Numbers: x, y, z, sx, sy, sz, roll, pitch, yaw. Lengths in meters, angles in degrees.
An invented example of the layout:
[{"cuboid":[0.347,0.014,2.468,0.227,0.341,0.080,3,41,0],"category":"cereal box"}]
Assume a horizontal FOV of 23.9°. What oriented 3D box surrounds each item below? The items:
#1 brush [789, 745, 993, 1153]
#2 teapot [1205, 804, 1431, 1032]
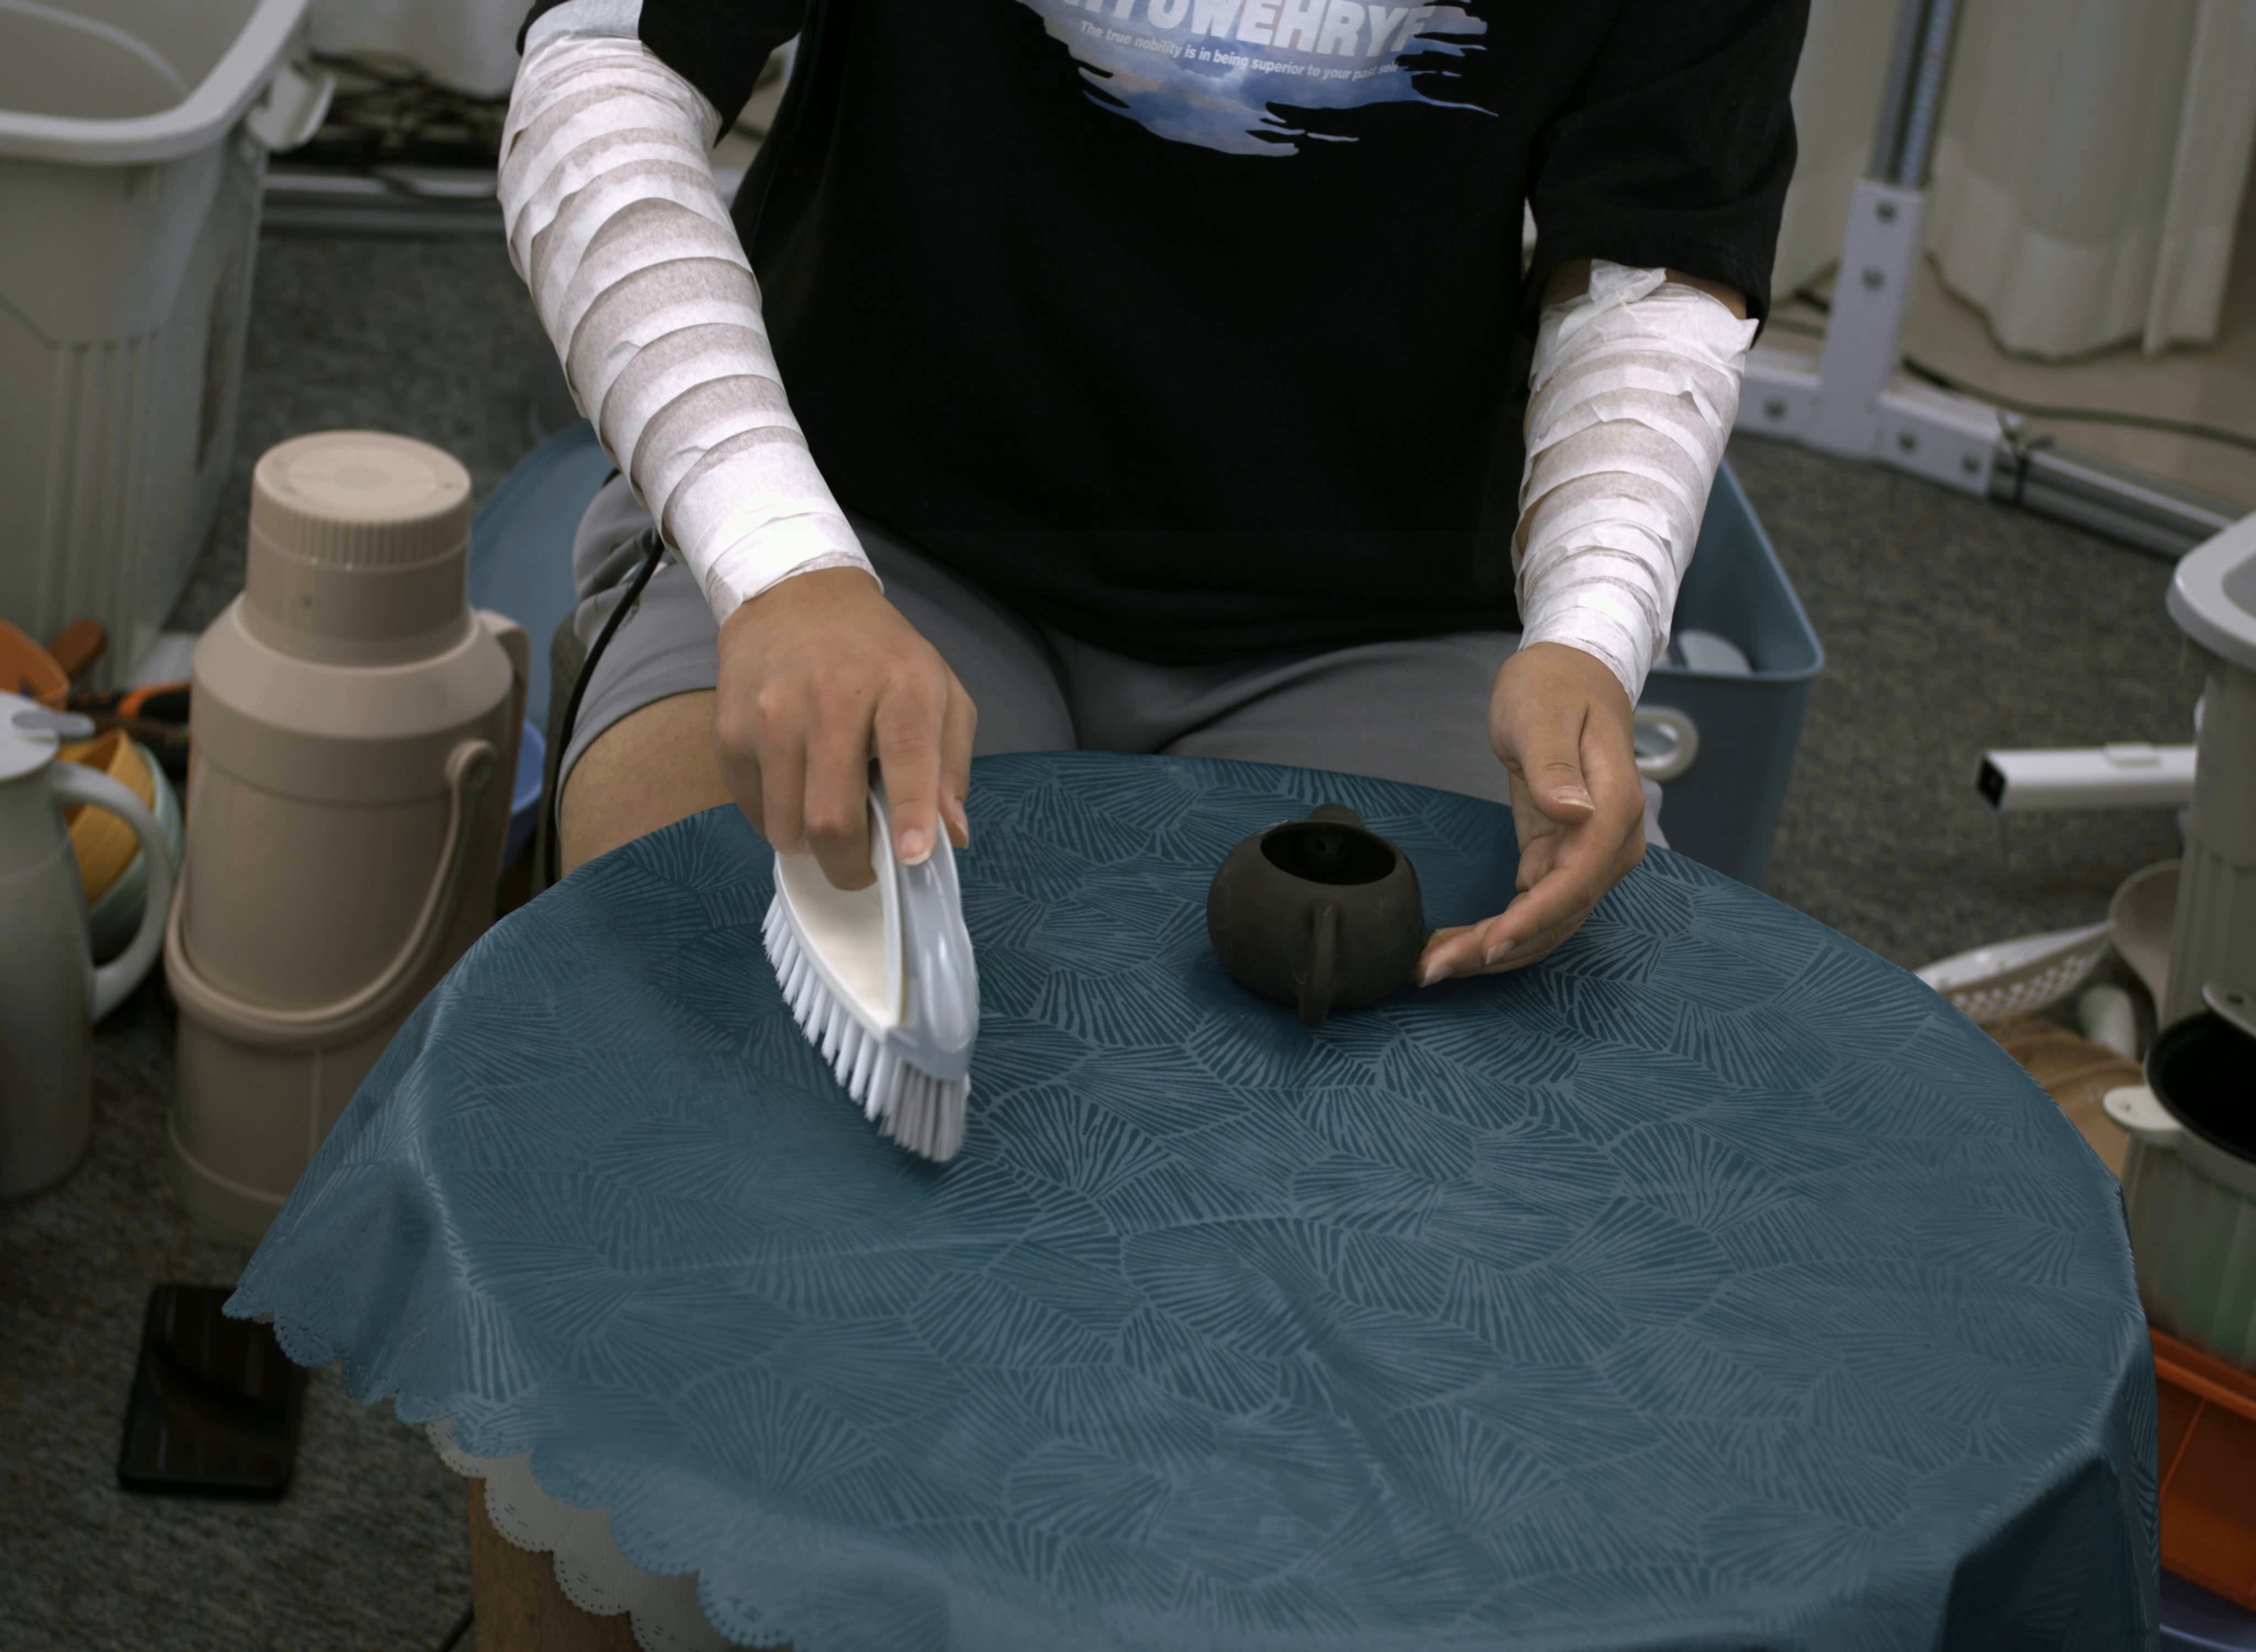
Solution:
[{"cuboid":[-0.075,0.035,1.849,0.061,0.094,0.177,-3,28,-15],"category":"brush"},{"cuboid":[0.069,0.037,1.936,0.083,0.053,0.114,7,25,2],"category":"teapot"}]
